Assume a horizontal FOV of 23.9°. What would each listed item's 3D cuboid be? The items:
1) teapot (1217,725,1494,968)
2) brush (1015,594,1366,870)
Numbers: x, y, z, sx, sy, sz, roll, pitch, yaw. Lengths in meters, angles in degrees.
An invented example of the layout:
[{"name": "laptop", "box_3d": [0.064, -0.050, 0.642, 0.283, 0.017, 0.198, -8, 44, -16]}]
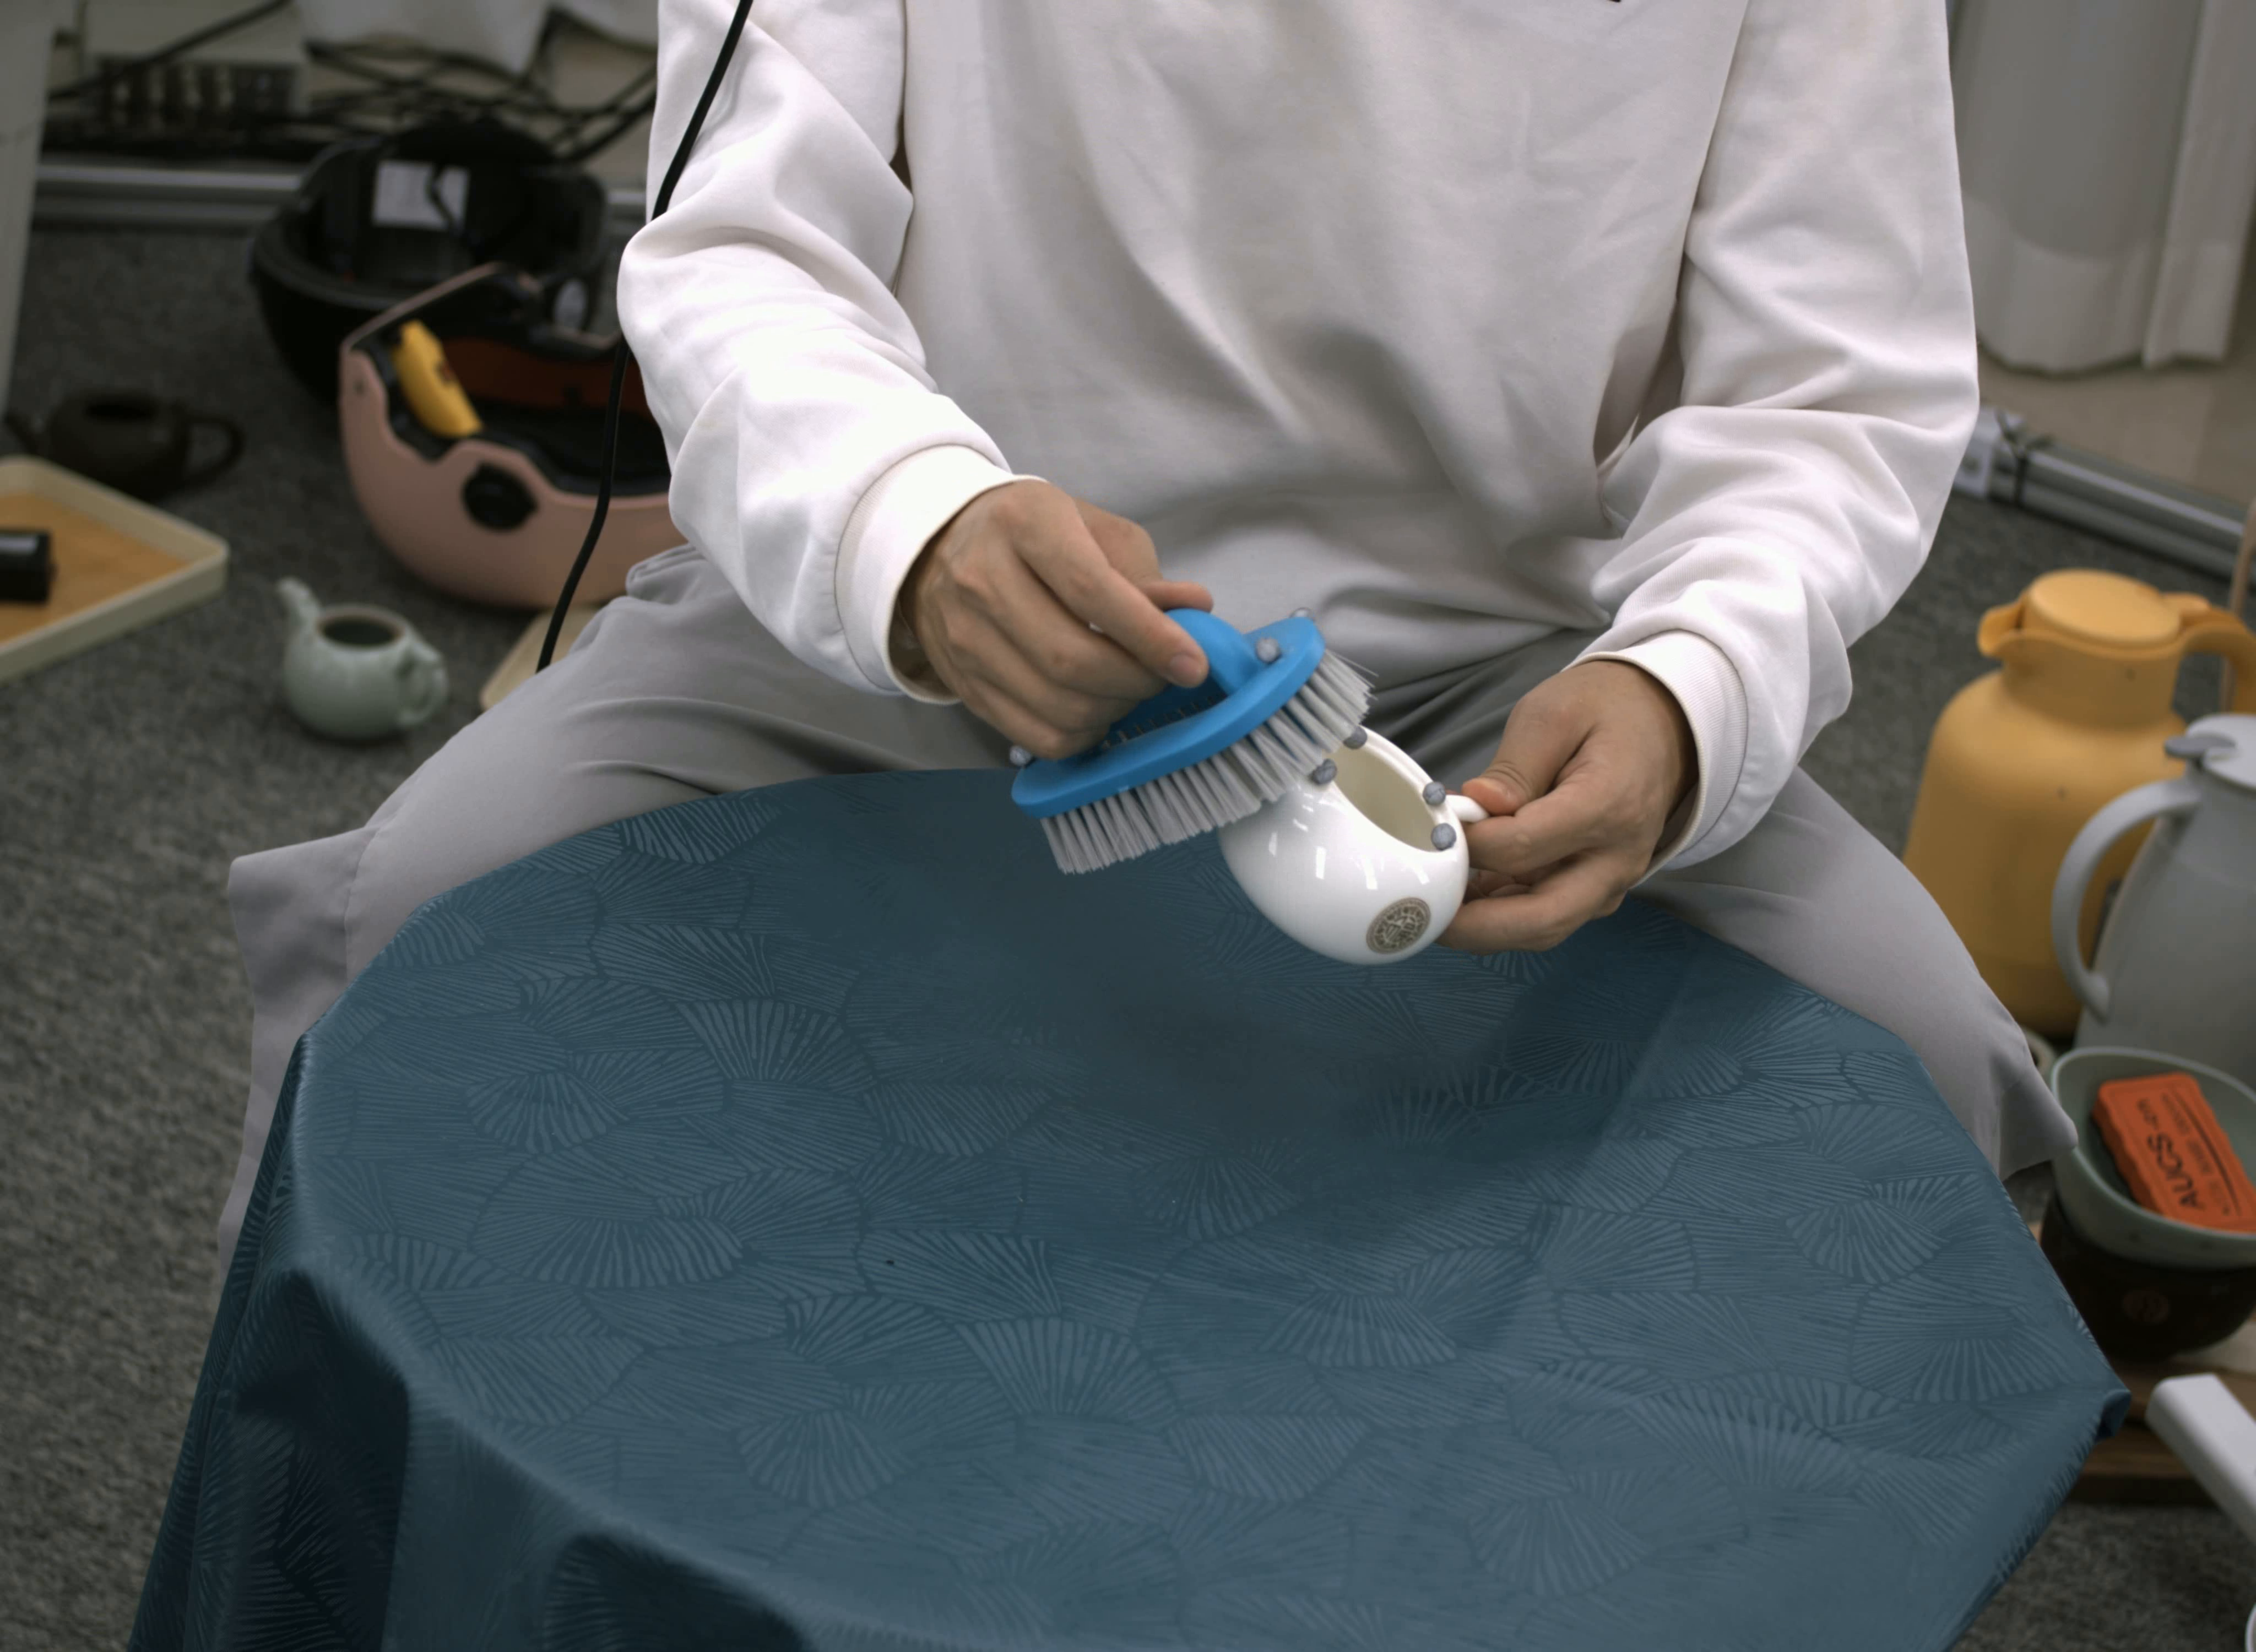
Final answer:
[{"name": "teapot", "box_3d": [0.081, 0.008, 1.834, 0.126, 0.056, 0.094, 5, 39, -51]}, {"name": "brush", "box_3d": [0.010, -0.041, 1.807, 0.142, 0.063, 0.084, -21, 28, 46]}]
